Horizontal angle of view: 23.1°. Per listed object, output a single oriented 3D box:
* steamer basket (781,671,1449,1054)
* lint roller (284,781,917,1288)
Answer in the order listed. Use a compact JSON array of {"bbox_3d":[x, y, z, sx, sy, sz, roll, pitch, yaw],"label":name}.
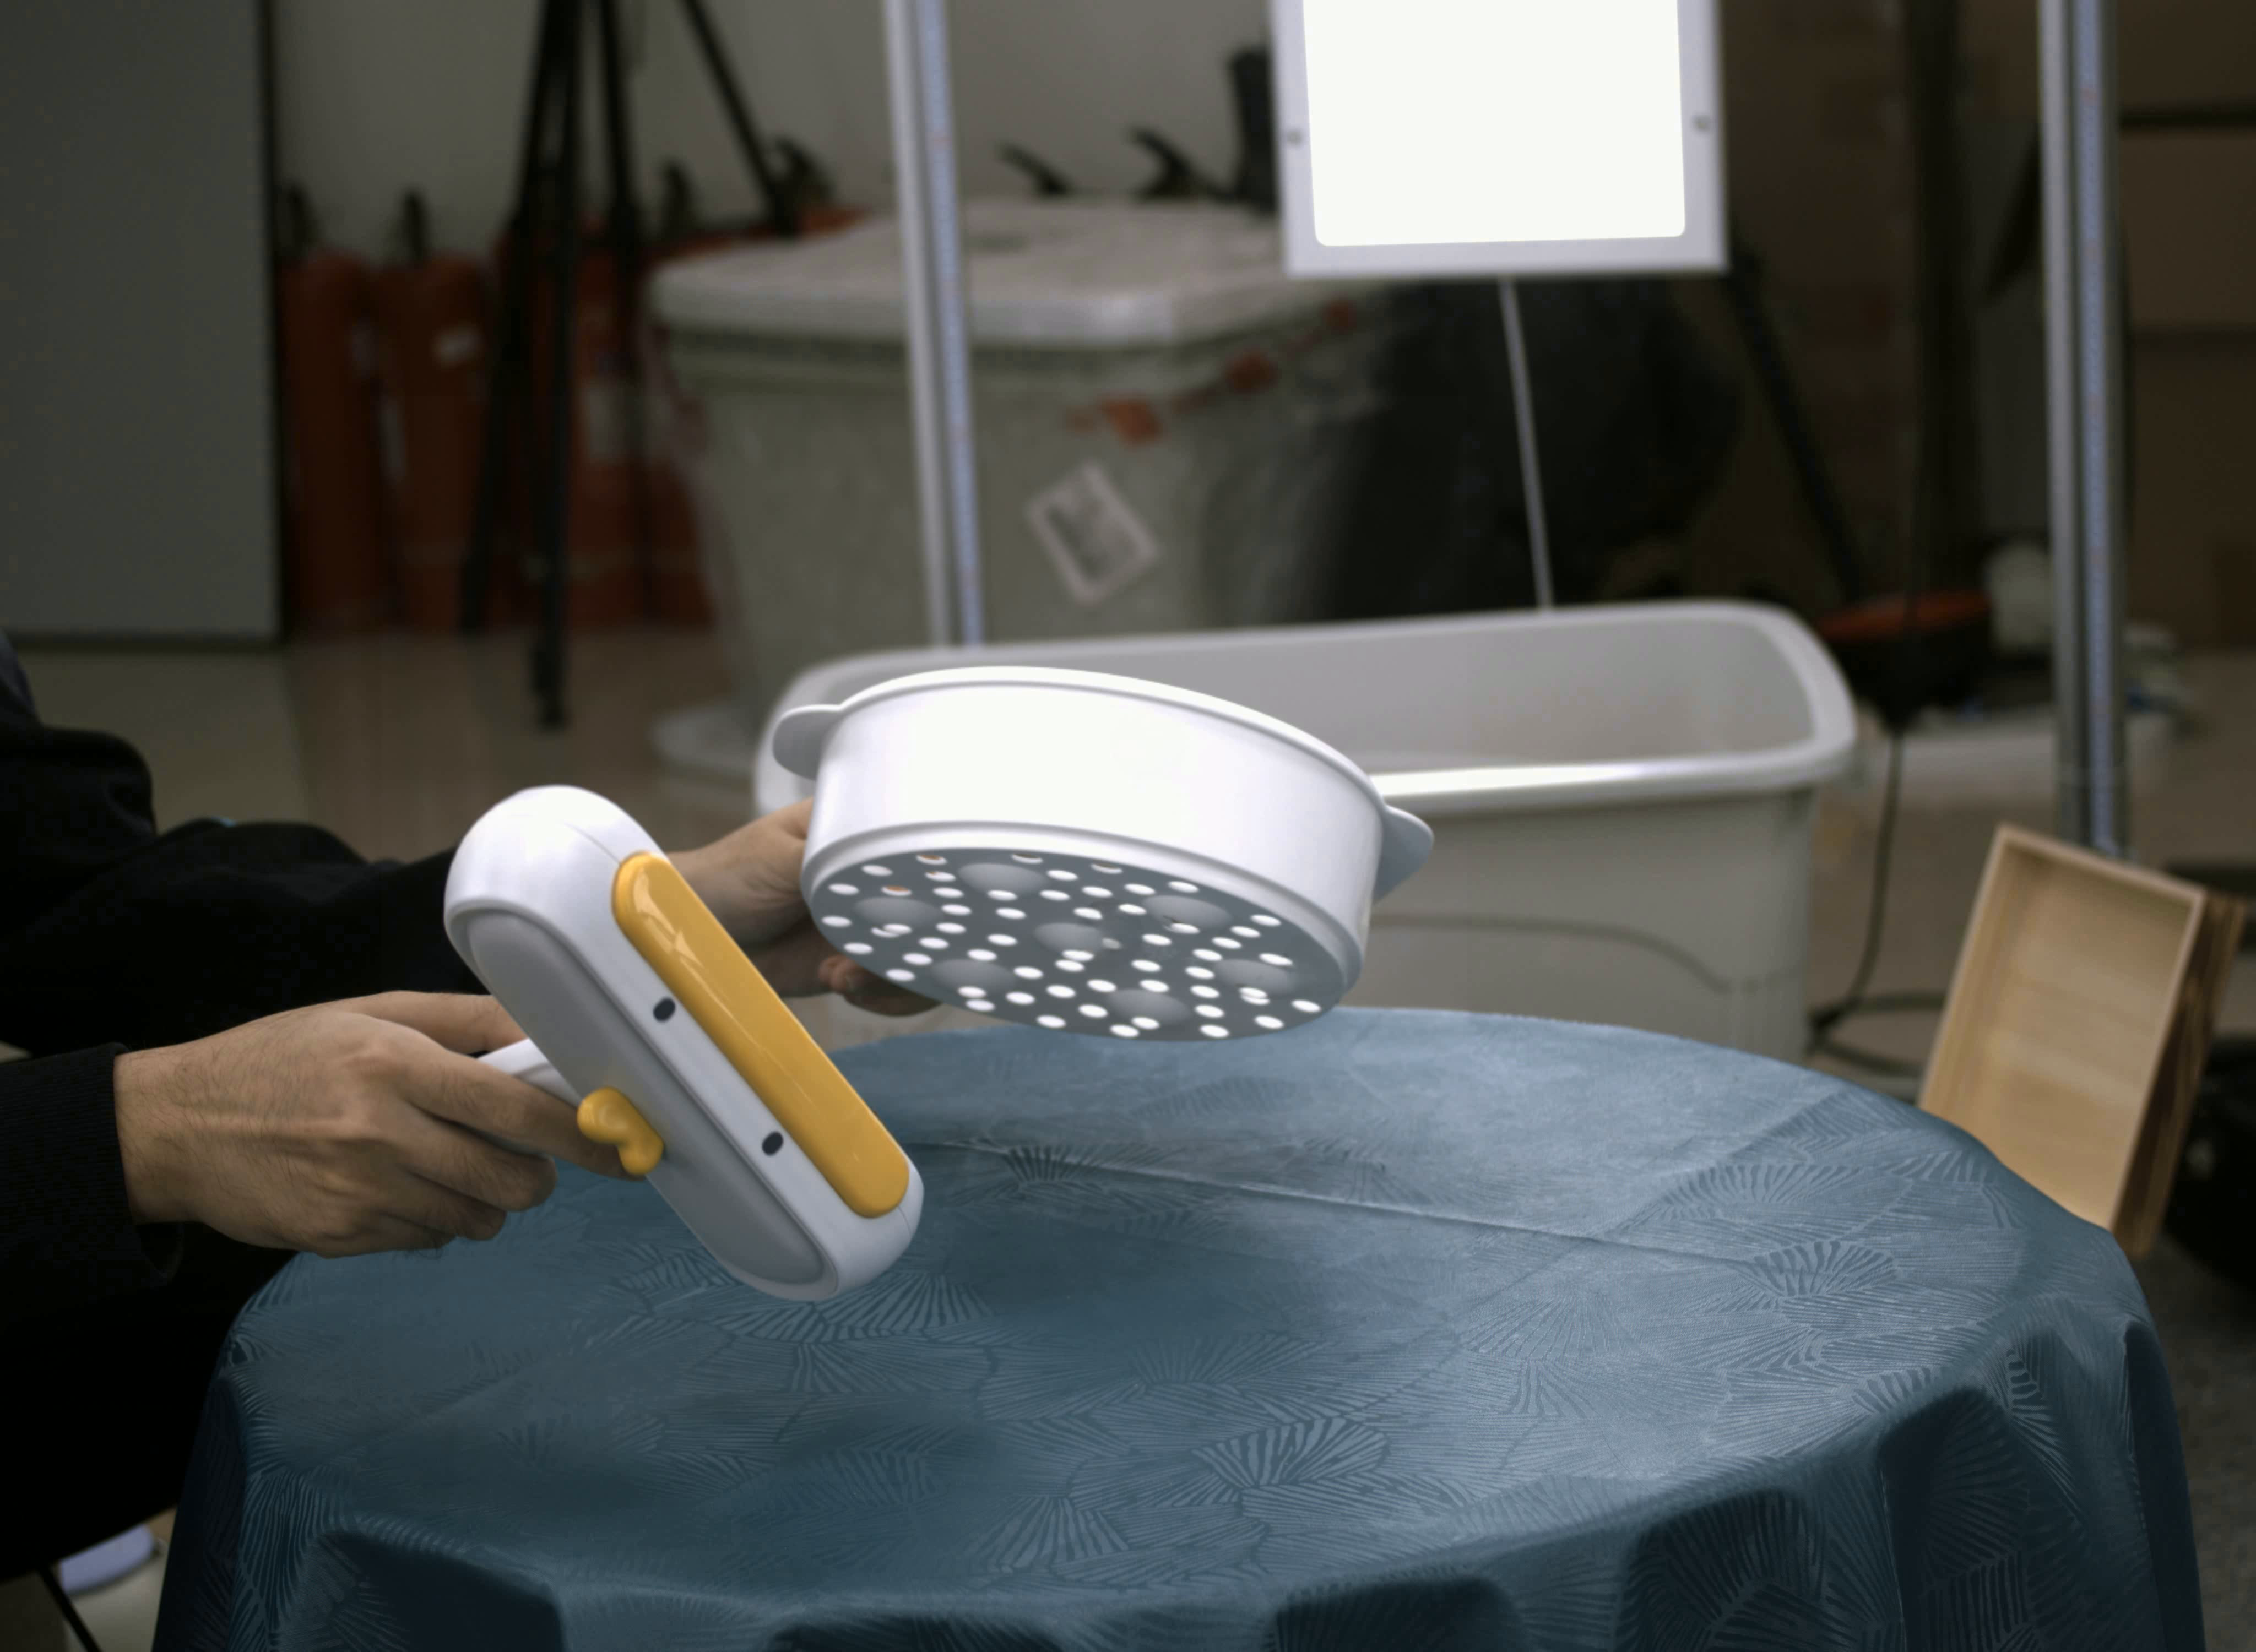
[{"bbox_3d":[-0.007,0.018,1.870,0.229,0.069,0.203,8,-22,-3],"label":"steamer basket"},{"bbox_3d":[-0.182,0.082,1.697,0.197,0.191,0.073,-17,37,42],"label":"lint roller"}]
